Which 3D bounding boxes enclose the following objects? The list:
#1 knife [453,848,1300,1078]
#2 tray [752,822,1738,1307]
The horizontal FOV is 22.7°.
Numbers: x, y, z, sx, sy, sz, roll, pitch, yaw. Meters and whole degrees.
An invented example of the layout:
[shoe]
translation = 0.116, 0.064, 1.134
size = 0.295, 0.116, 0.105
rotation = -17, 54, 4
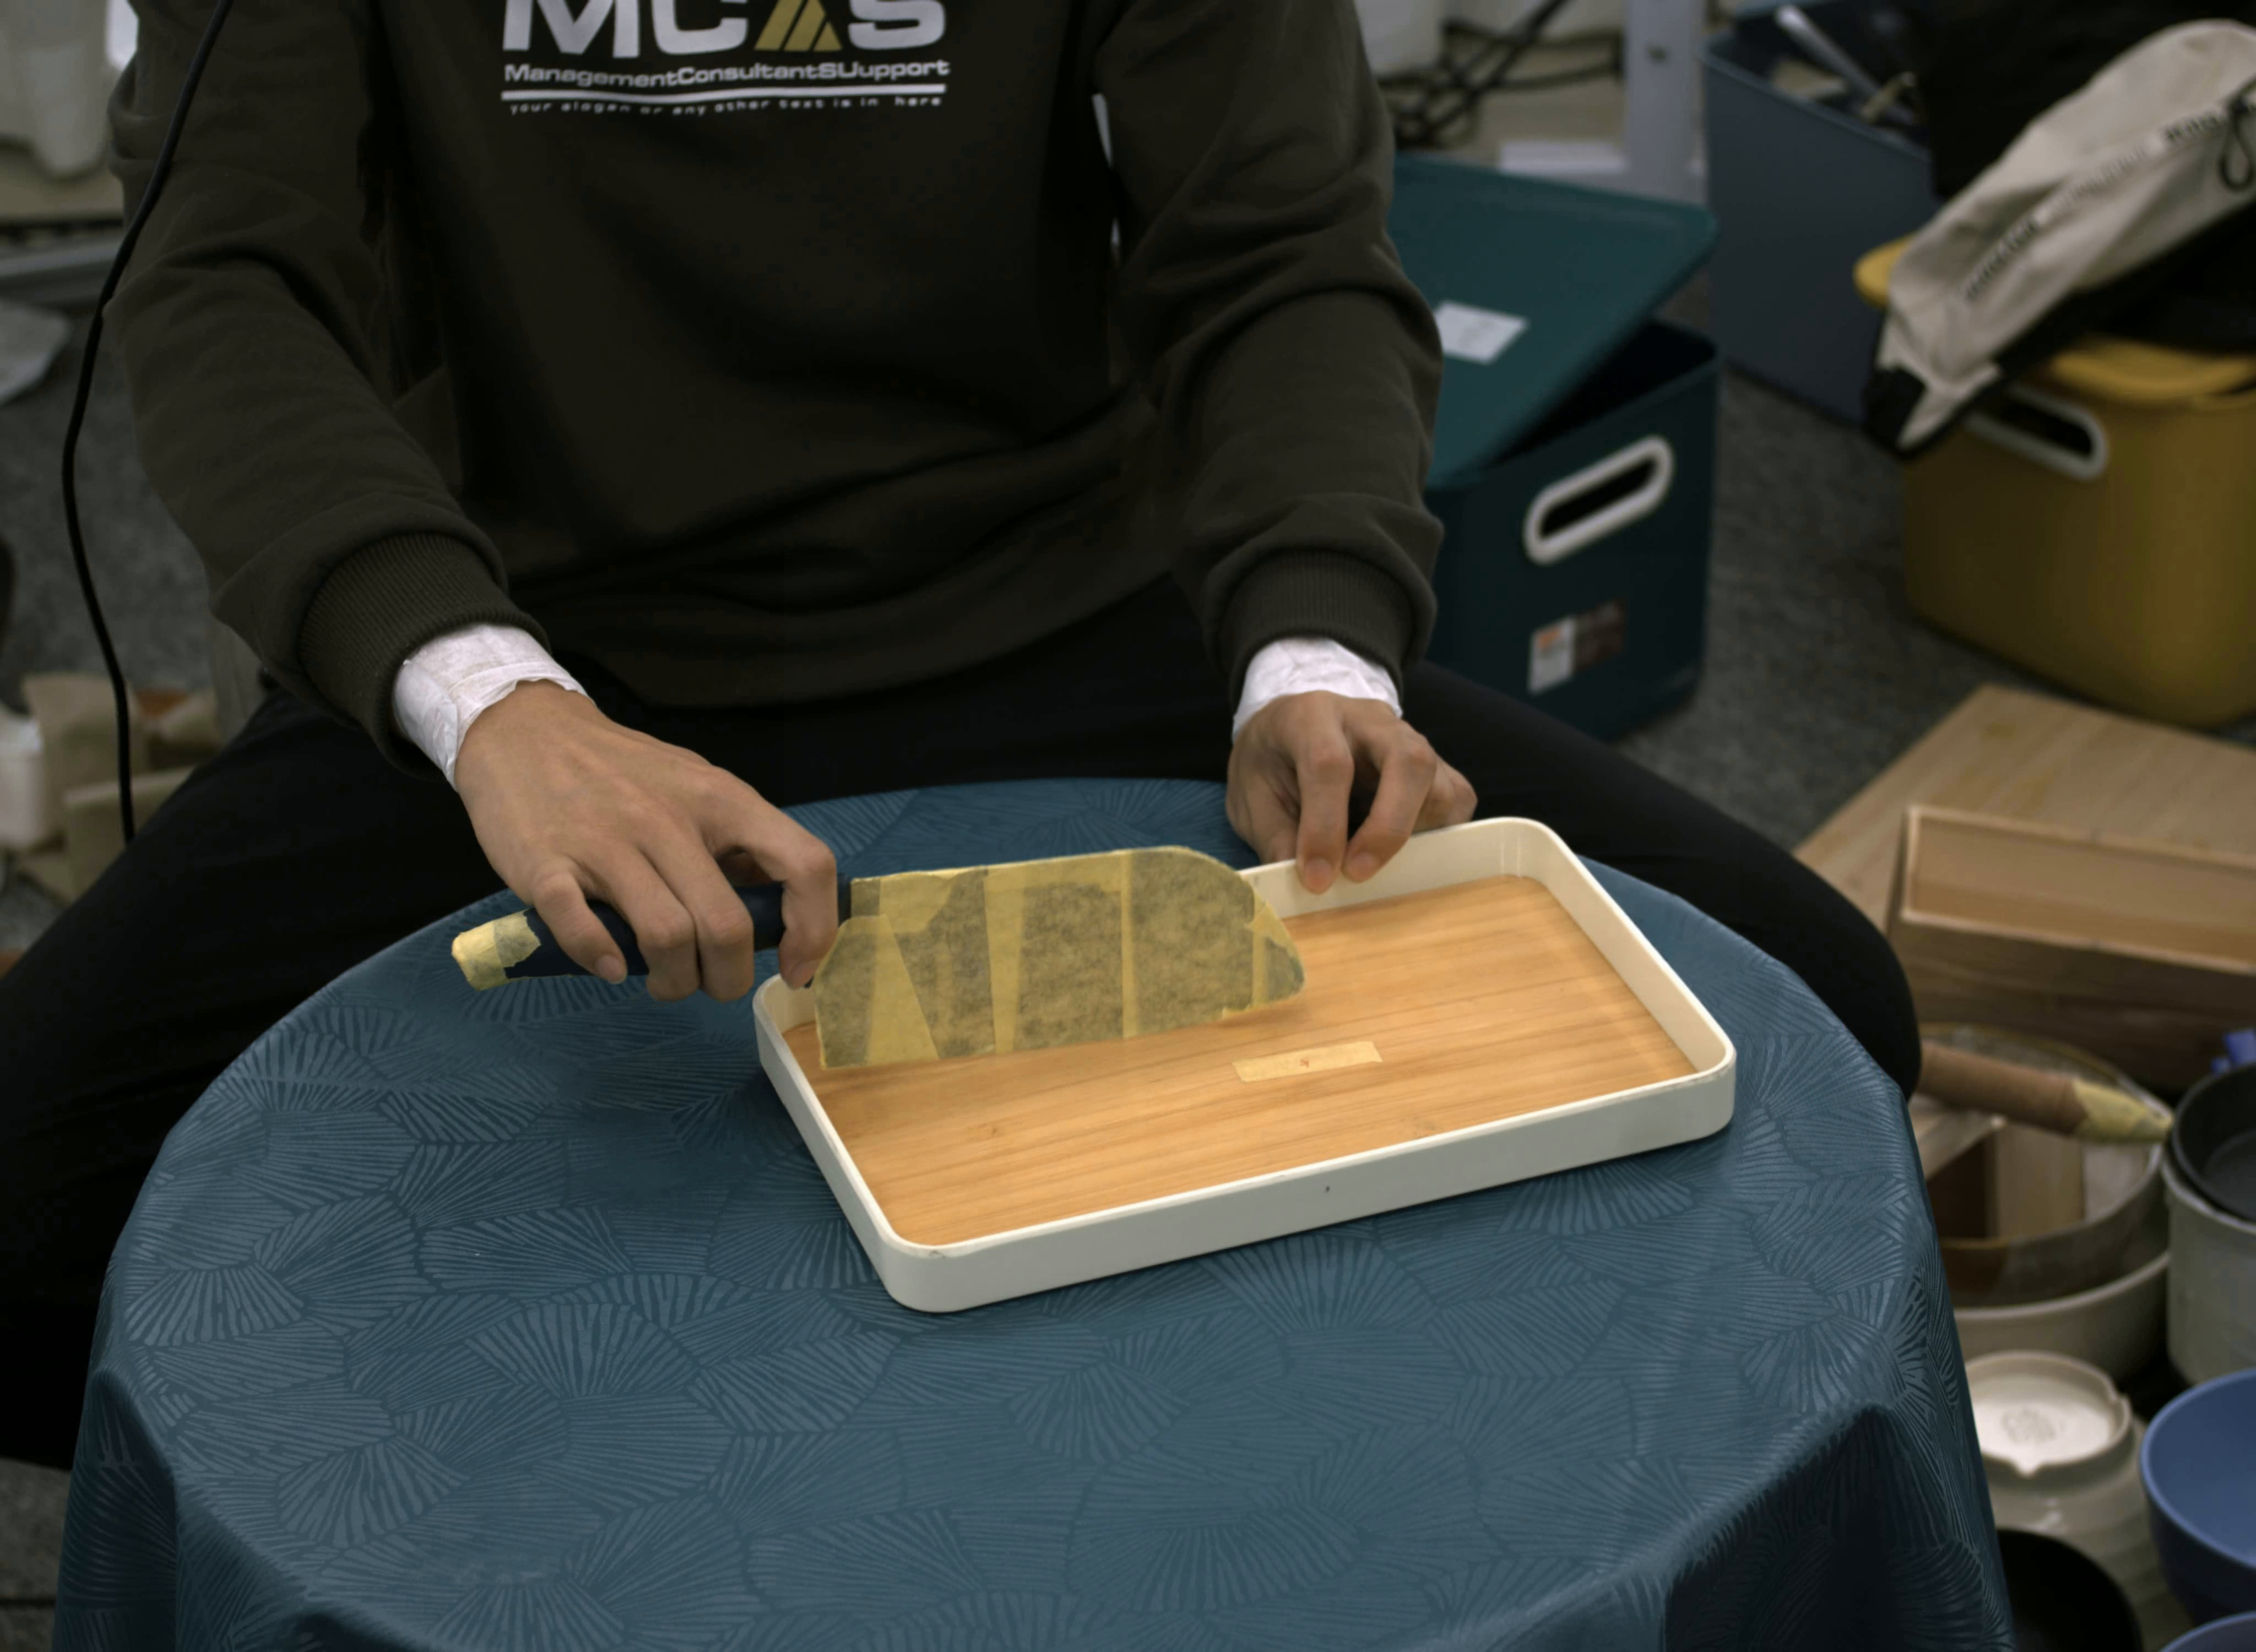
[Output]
[knife]
translation = -0.083, 0.048, 1.903
size = 0.289, 0.080, 0.027
rotation = -2, 21, -8
[tray]
translation = 0.037, 0.077, 1.908
size = 0.301, 0.027, 0.193
rotation = -11, 29, -16
